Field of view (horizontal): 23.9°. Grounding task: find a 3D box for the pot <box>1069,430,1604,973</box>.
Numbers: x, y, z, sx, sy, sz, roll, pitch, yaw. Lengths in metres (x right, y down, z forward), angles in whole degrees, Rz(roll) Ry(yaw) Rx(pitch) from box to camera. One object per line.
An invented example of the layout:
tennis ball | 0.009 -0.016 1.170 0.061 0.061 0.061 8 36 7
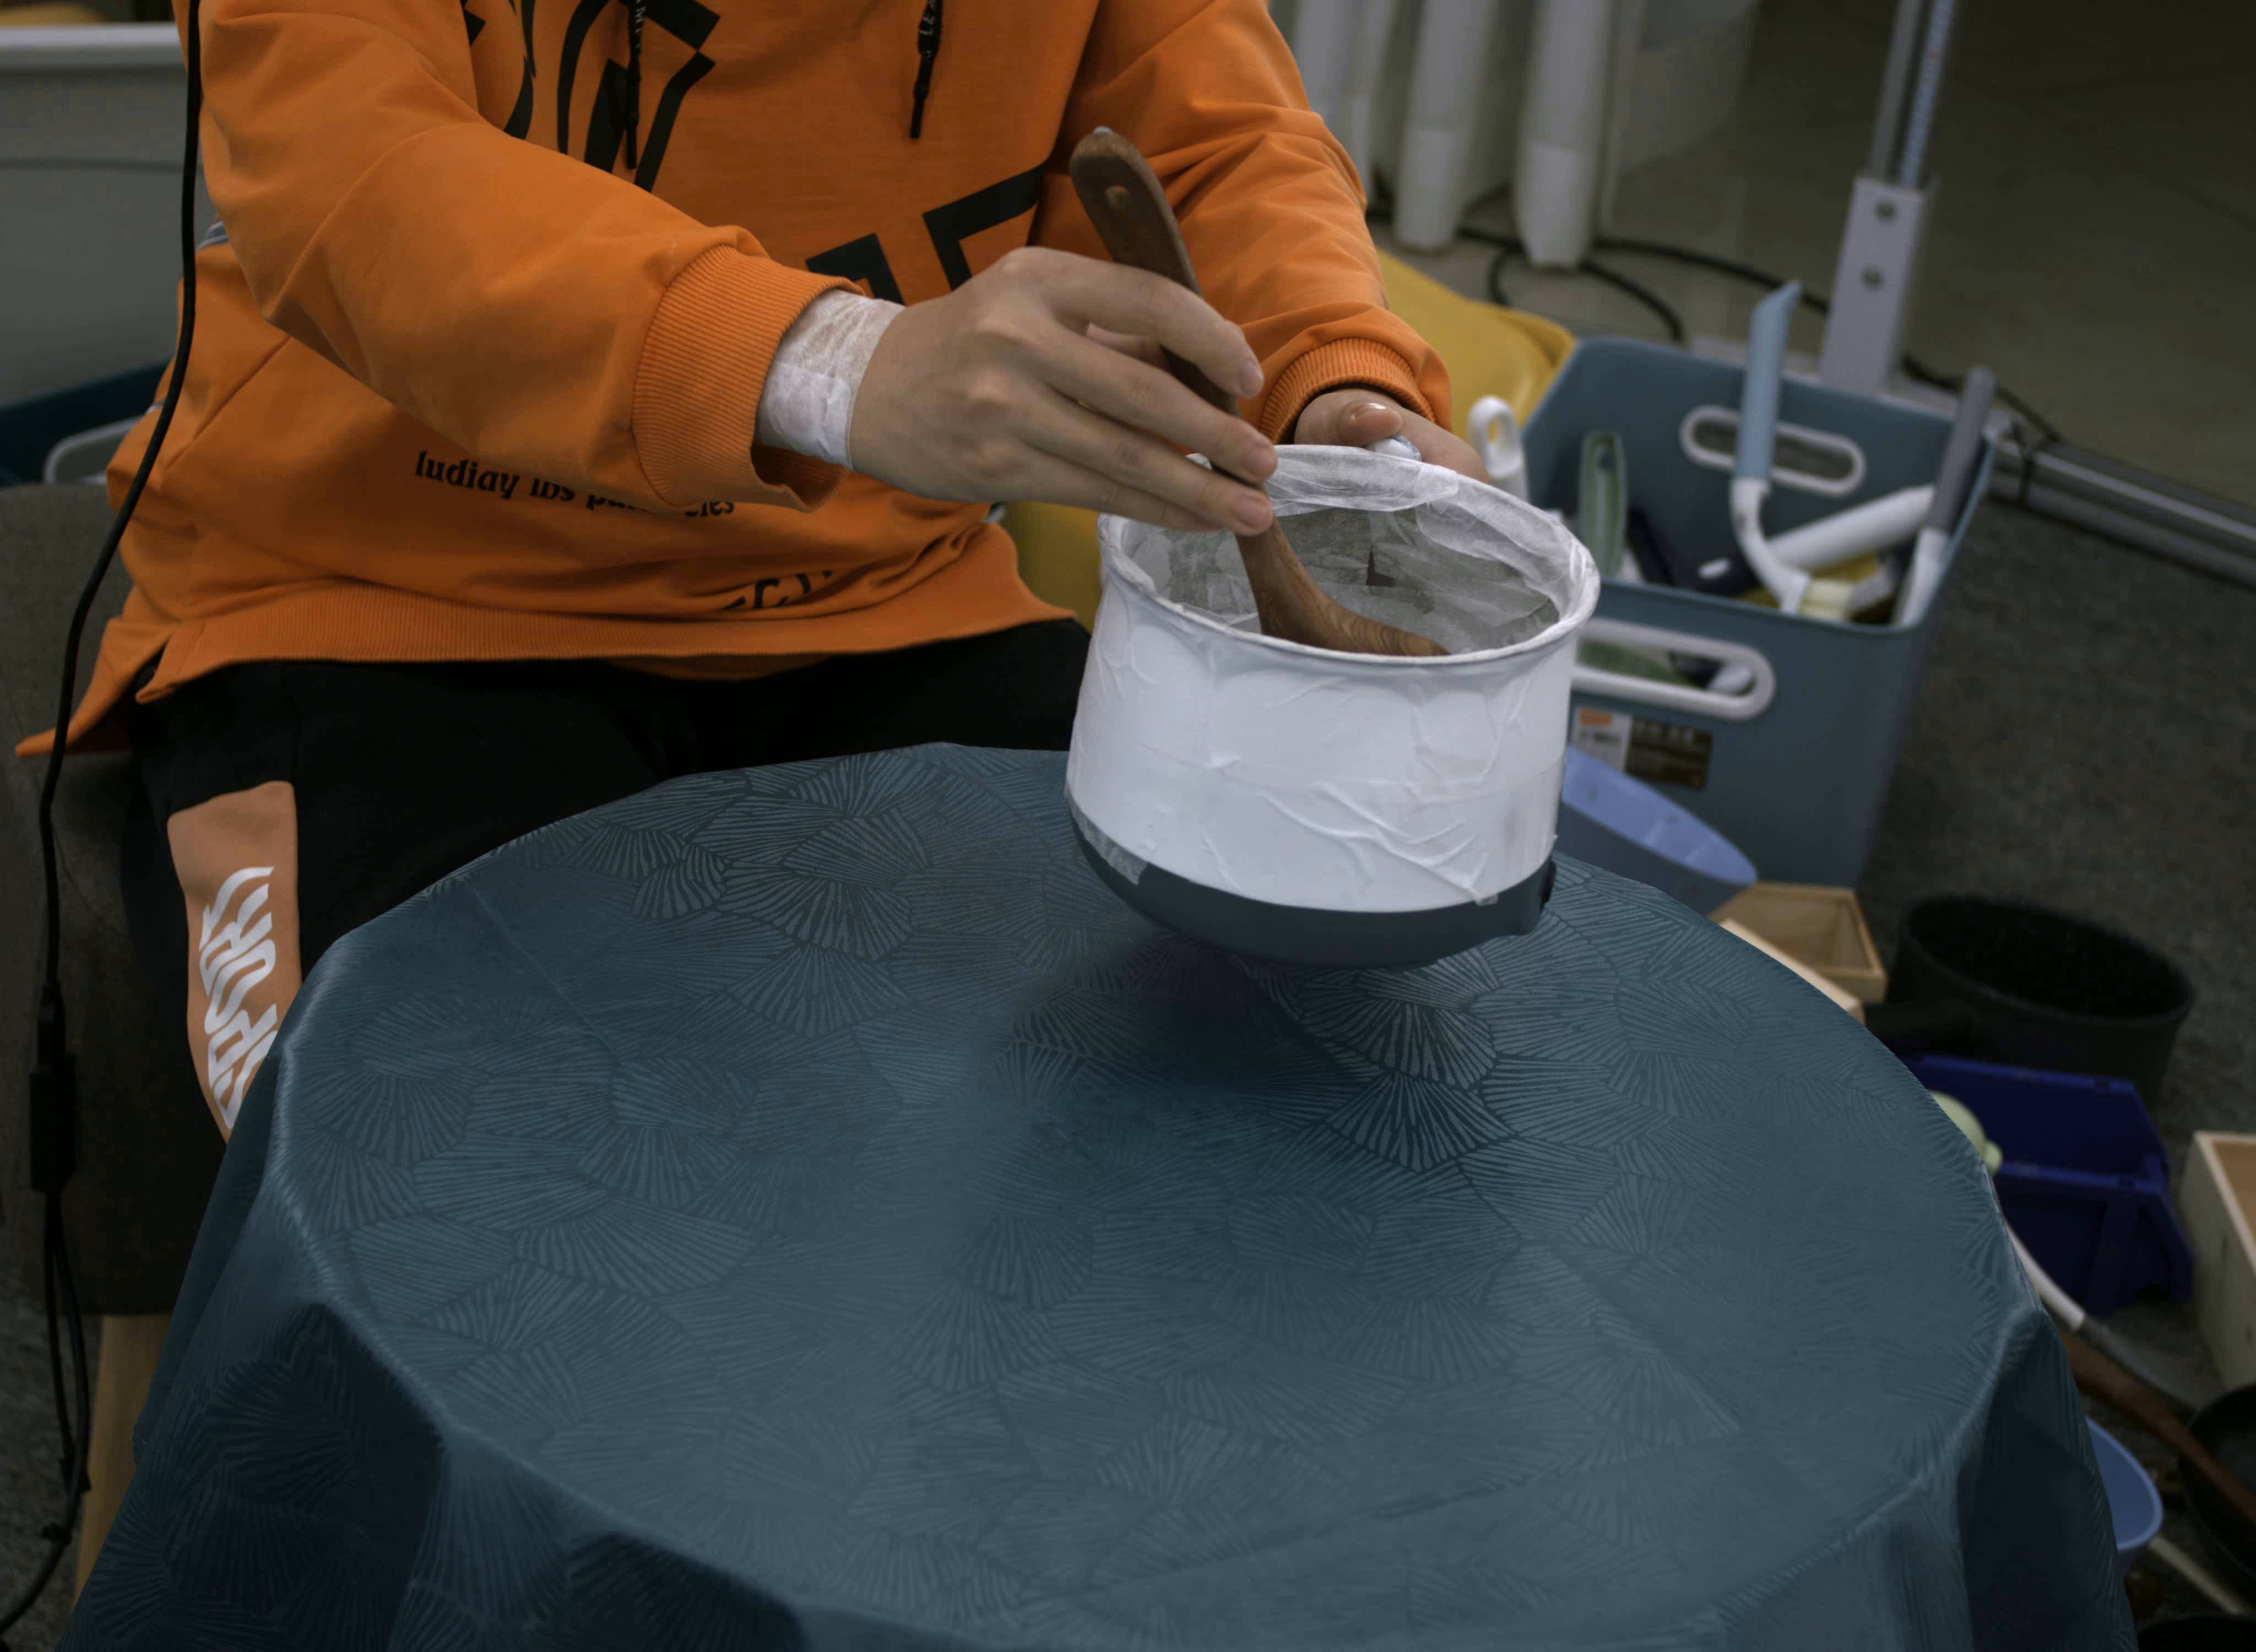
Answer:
pot | 0.075 -0.053 1.903 0.178 0.136 0.234 10 27 6

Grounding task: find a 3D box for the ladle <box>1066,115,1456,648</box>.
ladle | 0.040 -0.135 1.836 0.076 0.259 0.065 -19 21 16
